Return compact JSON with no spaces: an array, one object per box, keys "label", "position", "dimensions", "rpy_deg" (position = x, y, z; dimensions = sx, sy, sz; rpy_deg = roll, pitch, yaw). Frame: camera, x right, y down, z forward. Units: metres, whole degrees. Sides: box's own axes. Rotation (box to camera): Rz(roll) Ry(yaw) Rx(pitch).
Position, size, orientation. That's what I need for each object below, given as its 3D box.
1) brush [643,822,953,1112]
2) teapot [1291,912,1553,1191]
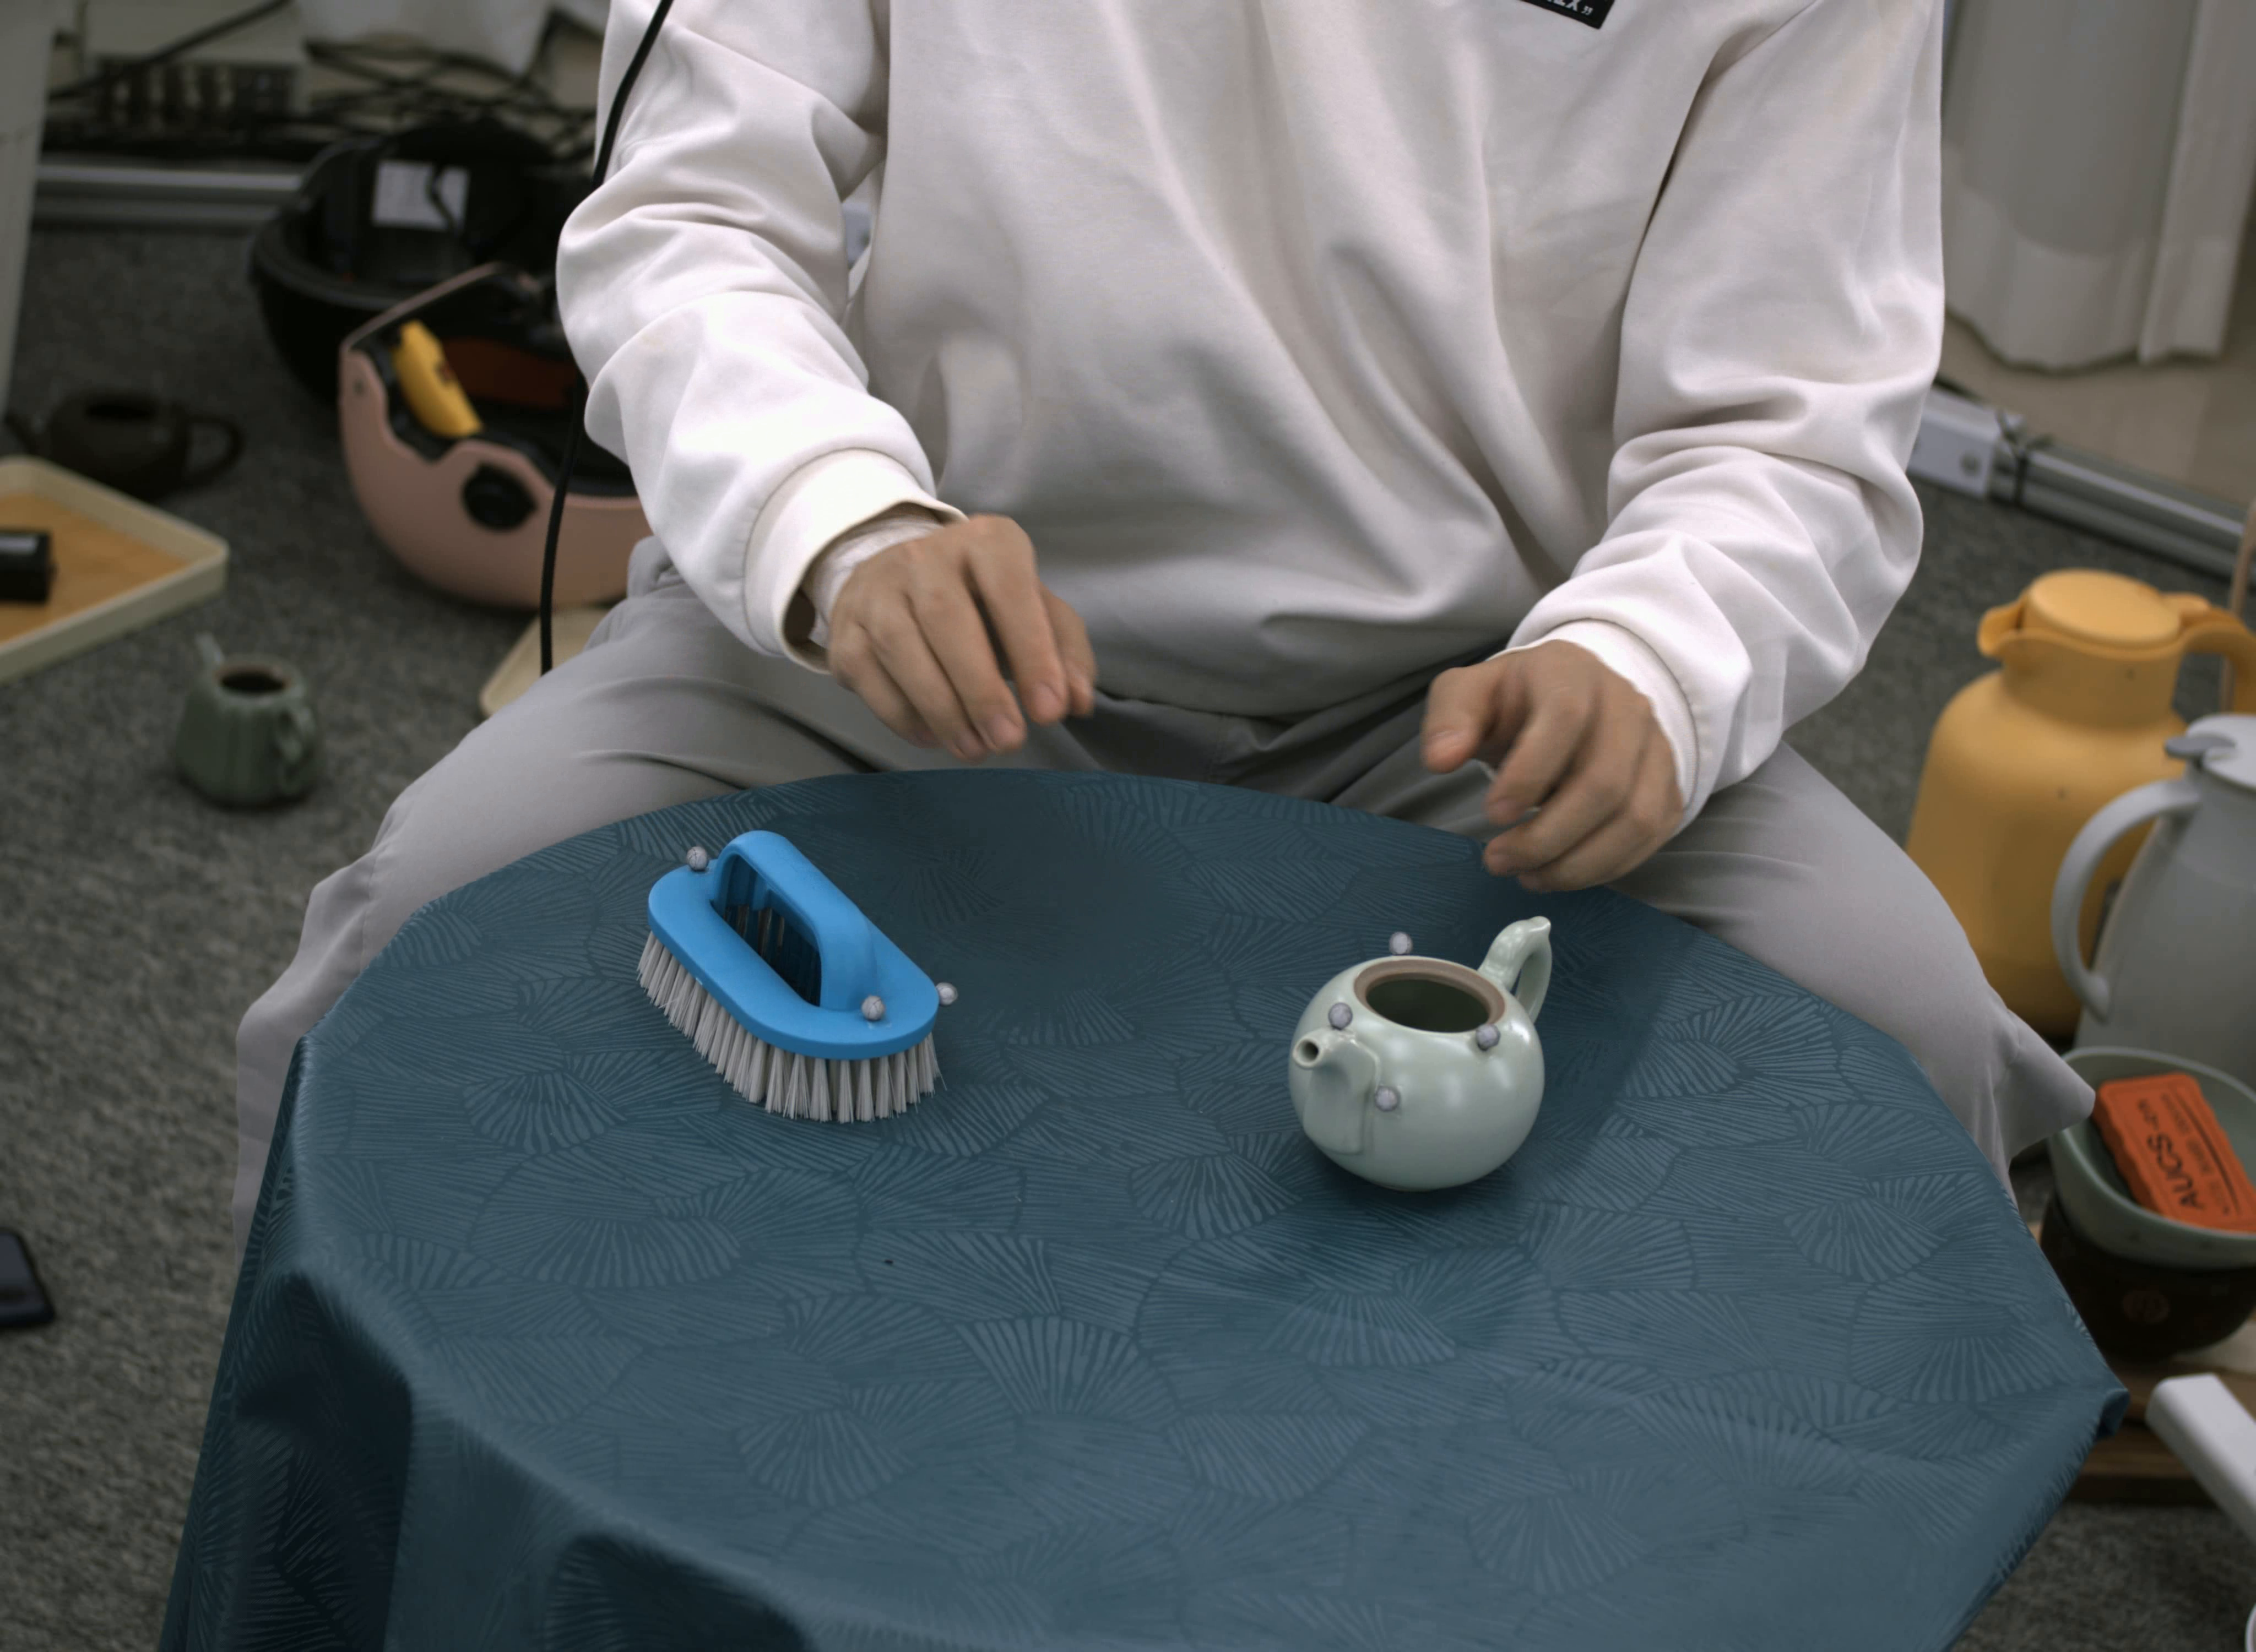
[{"label":"brush","position":[-0.118,0.041,1.869],"dimensions":[0.084,0.063,0.143],"rpy_deg":[-13,32,-26]},{"label":"teapot","position":[0.100,0.084,1.829],"dimensions":[0.089,0.074,0.143],"rpy_deg":[25,34,35]}]
